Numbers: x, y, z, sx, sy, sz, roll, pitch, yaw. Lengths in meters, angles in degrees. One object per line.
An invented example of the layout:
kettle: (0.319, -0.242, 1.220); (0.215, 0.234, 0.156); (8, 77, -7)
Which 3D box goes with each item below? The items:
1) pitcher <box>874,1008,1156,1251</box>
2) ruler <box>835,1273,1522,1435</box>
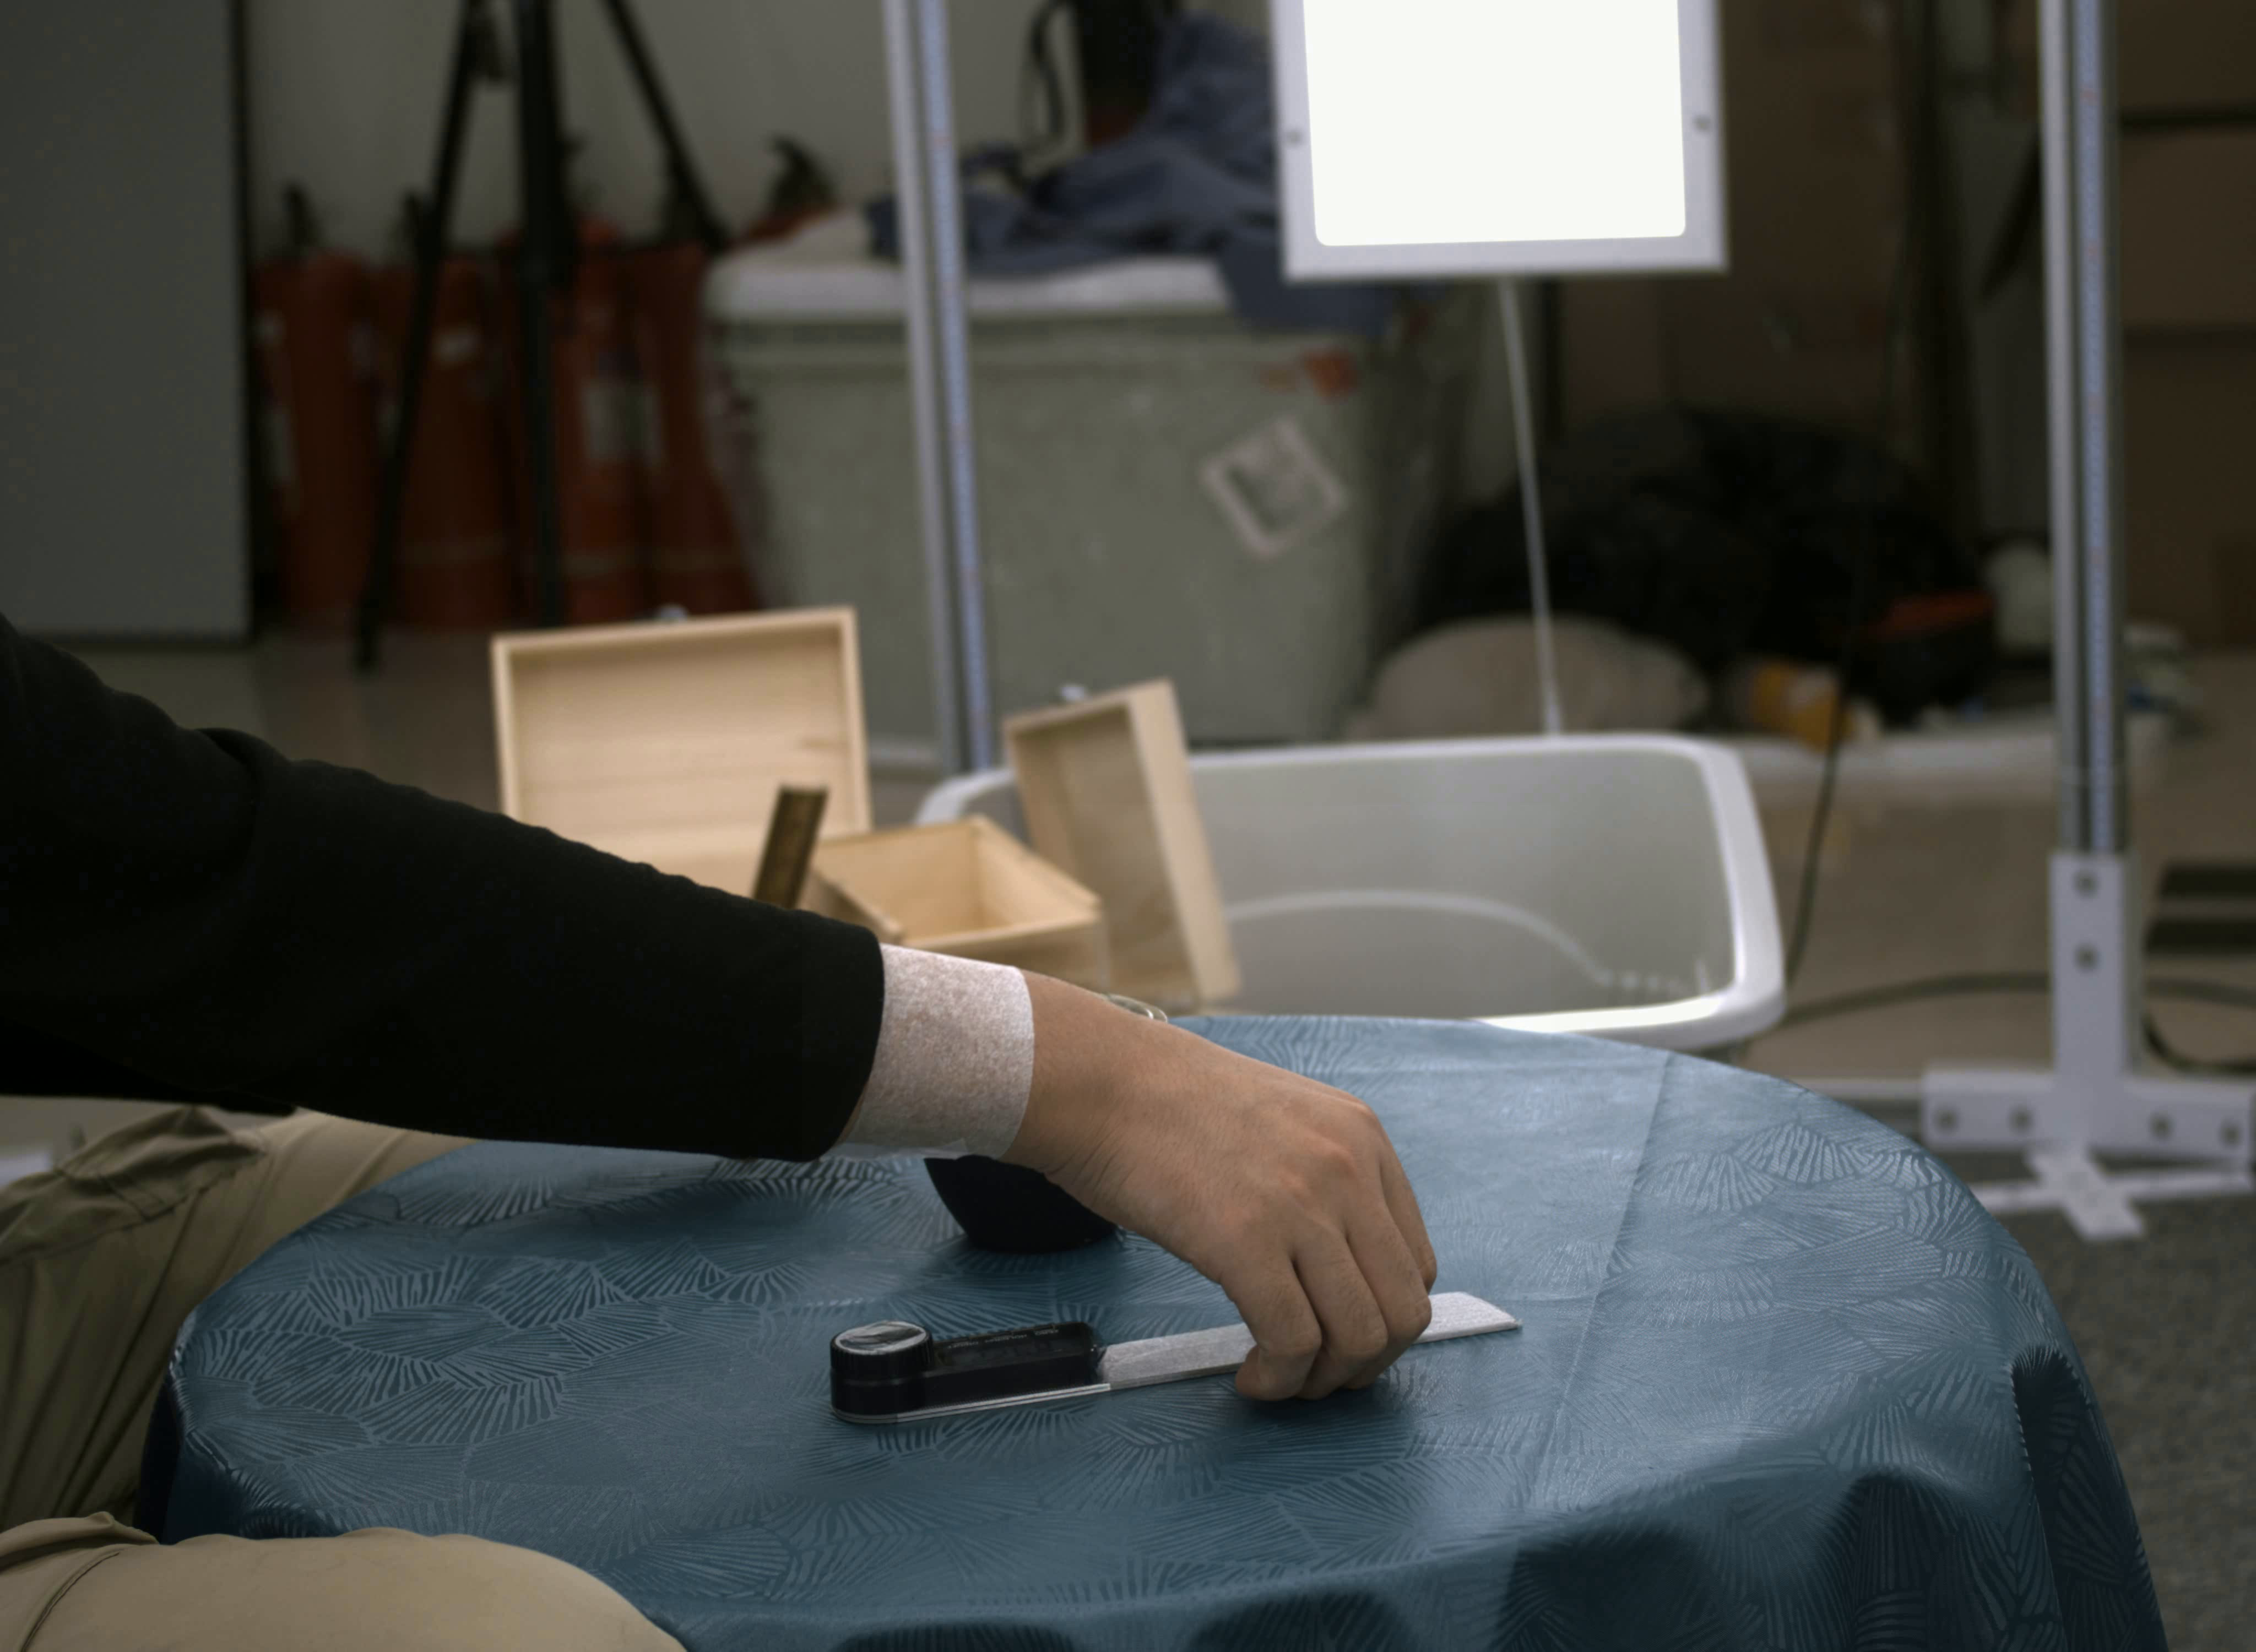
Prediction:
pitcher: (-0.036, 0.102, 1.858); (0.096, 0.071, 0.083); (-1, 15, 11)
ruler: (0.015, 0.157, 1.721); (0.216, 0.024, 0.038); (-9, 21, -9)
